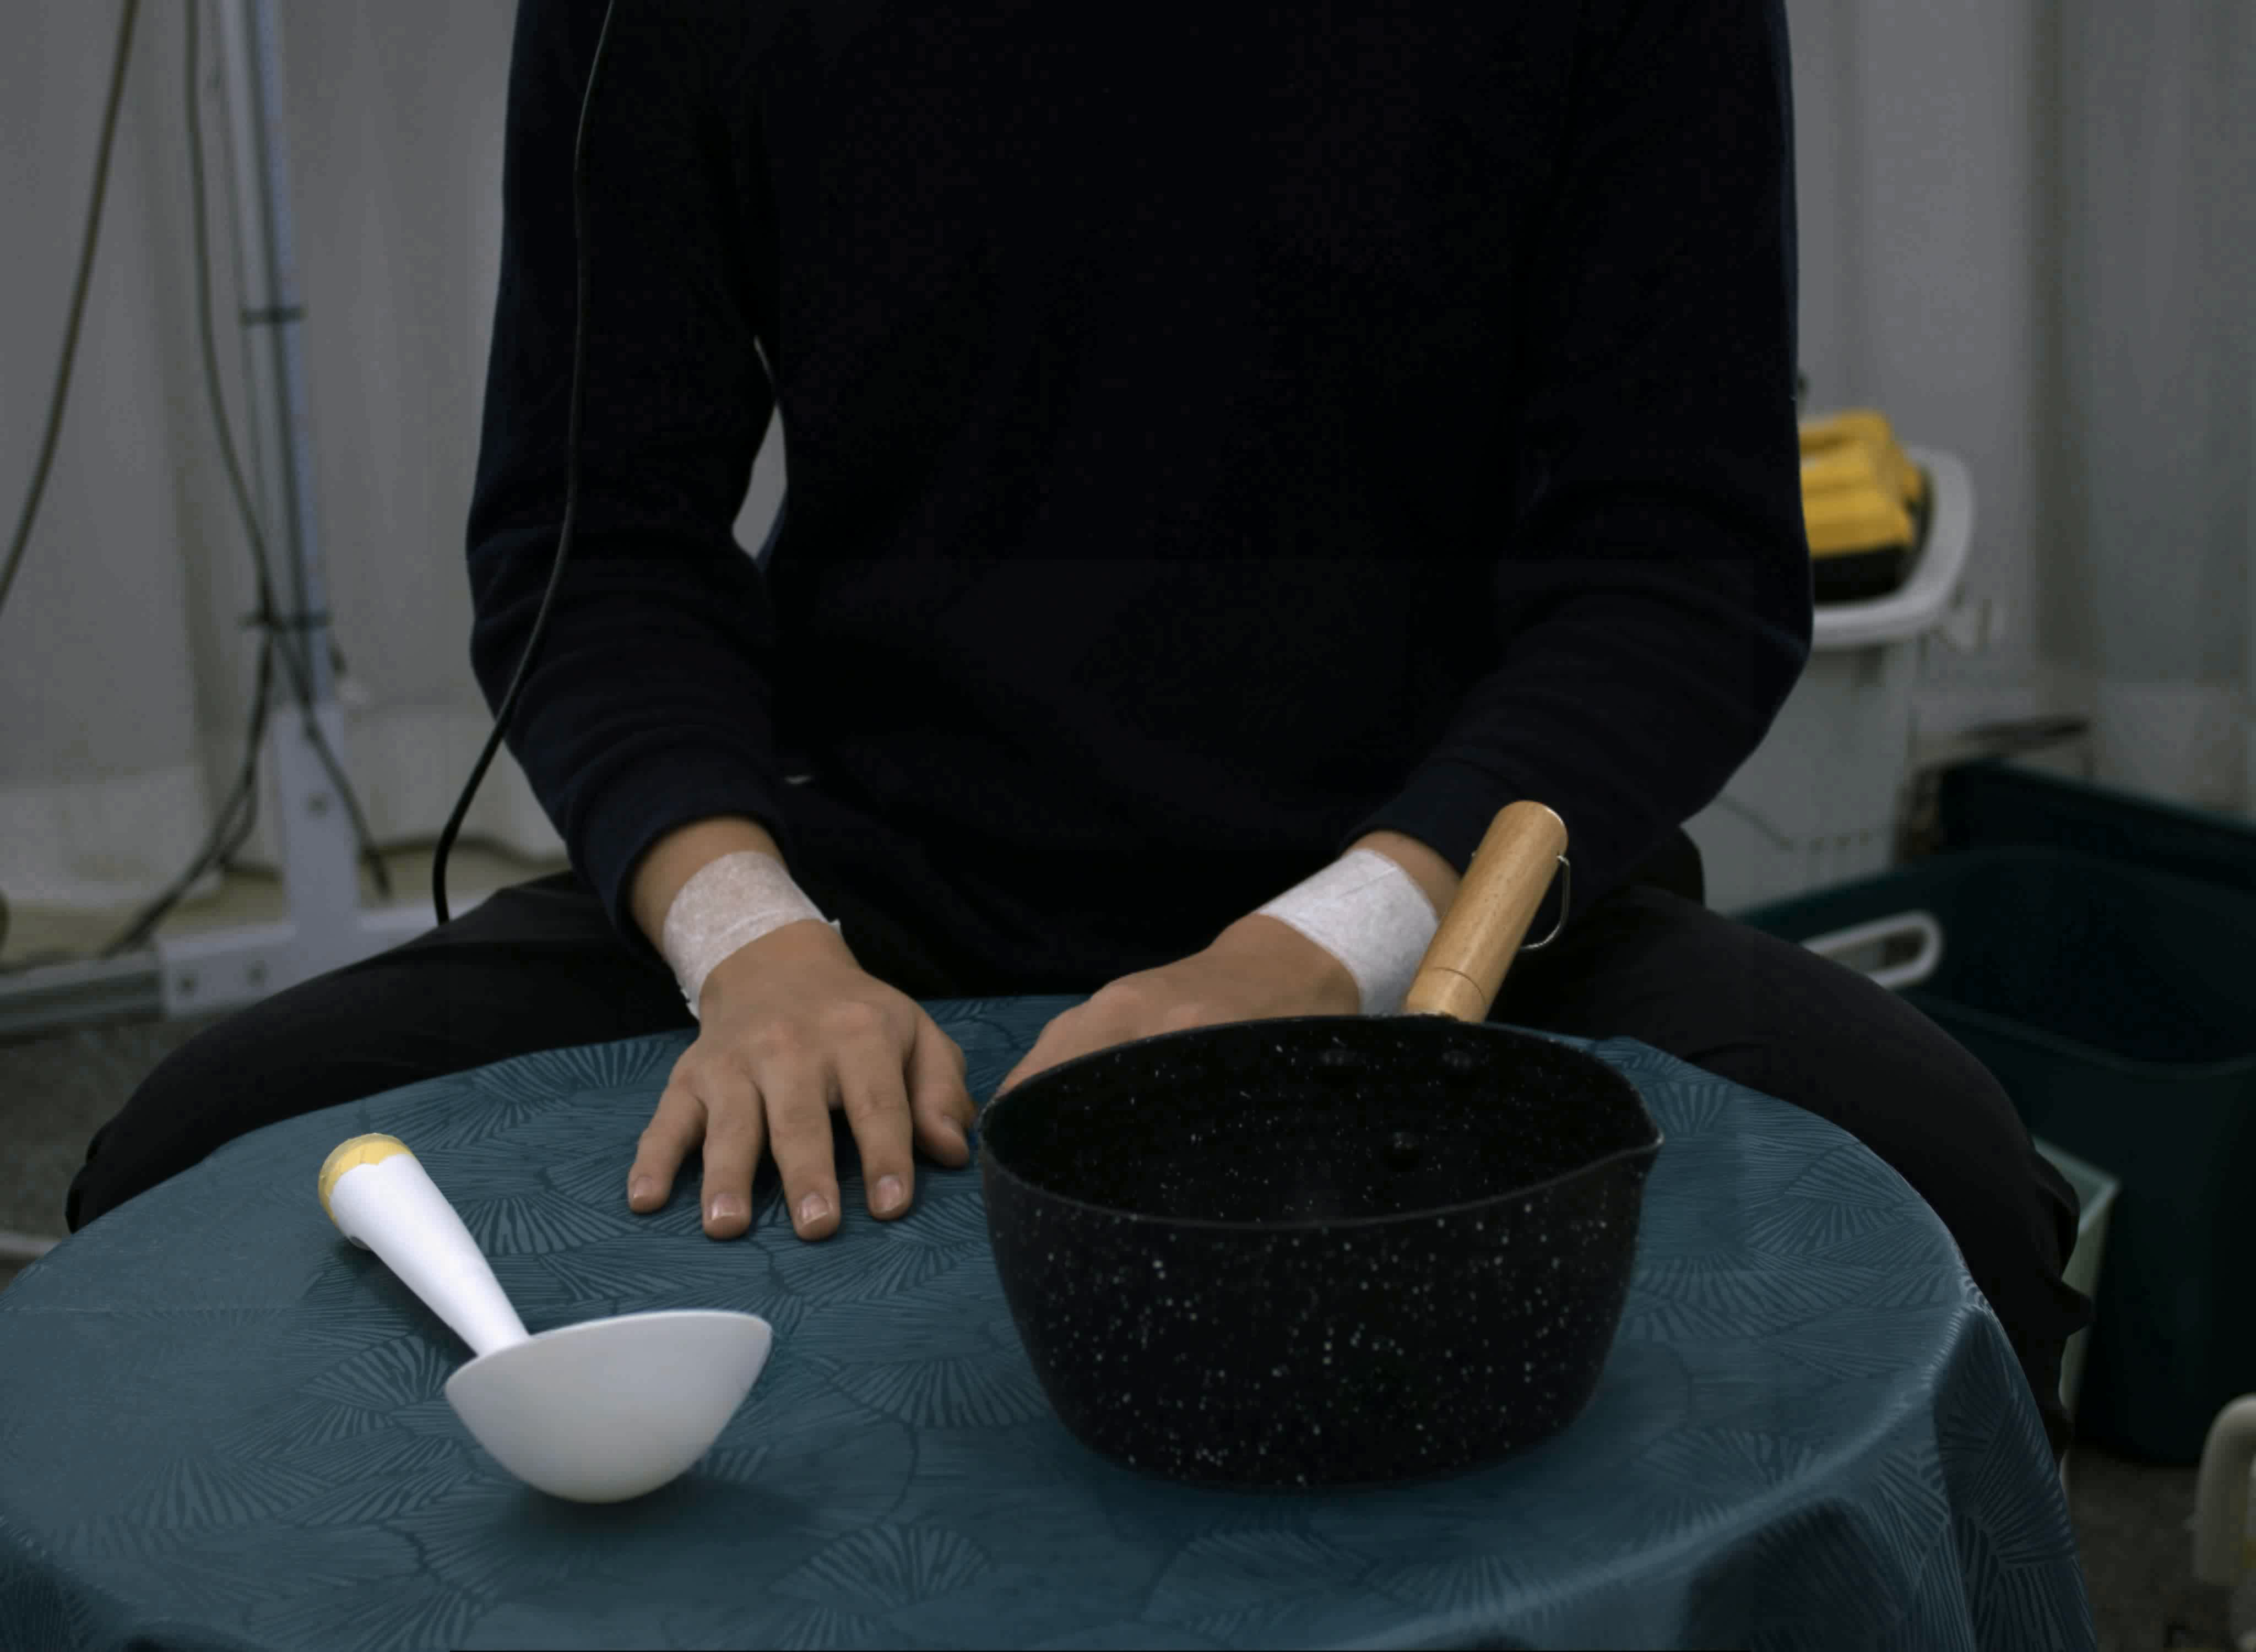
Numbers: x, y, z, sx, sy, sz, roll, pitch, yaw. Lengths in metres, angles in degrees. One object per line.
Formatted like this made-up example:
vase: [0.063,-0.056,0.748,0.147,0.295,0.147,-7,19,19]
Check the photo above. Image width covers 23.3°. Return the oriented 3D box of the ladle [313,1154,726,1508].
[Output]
ladle: [-0.190,0.130,1.573,0.090,0.069,0.295,-13,16,-18]

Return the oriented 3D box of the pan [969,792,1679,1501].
pan: [0.076,0.088,1.593,0.207,0.108,0.344,1,17,18]
